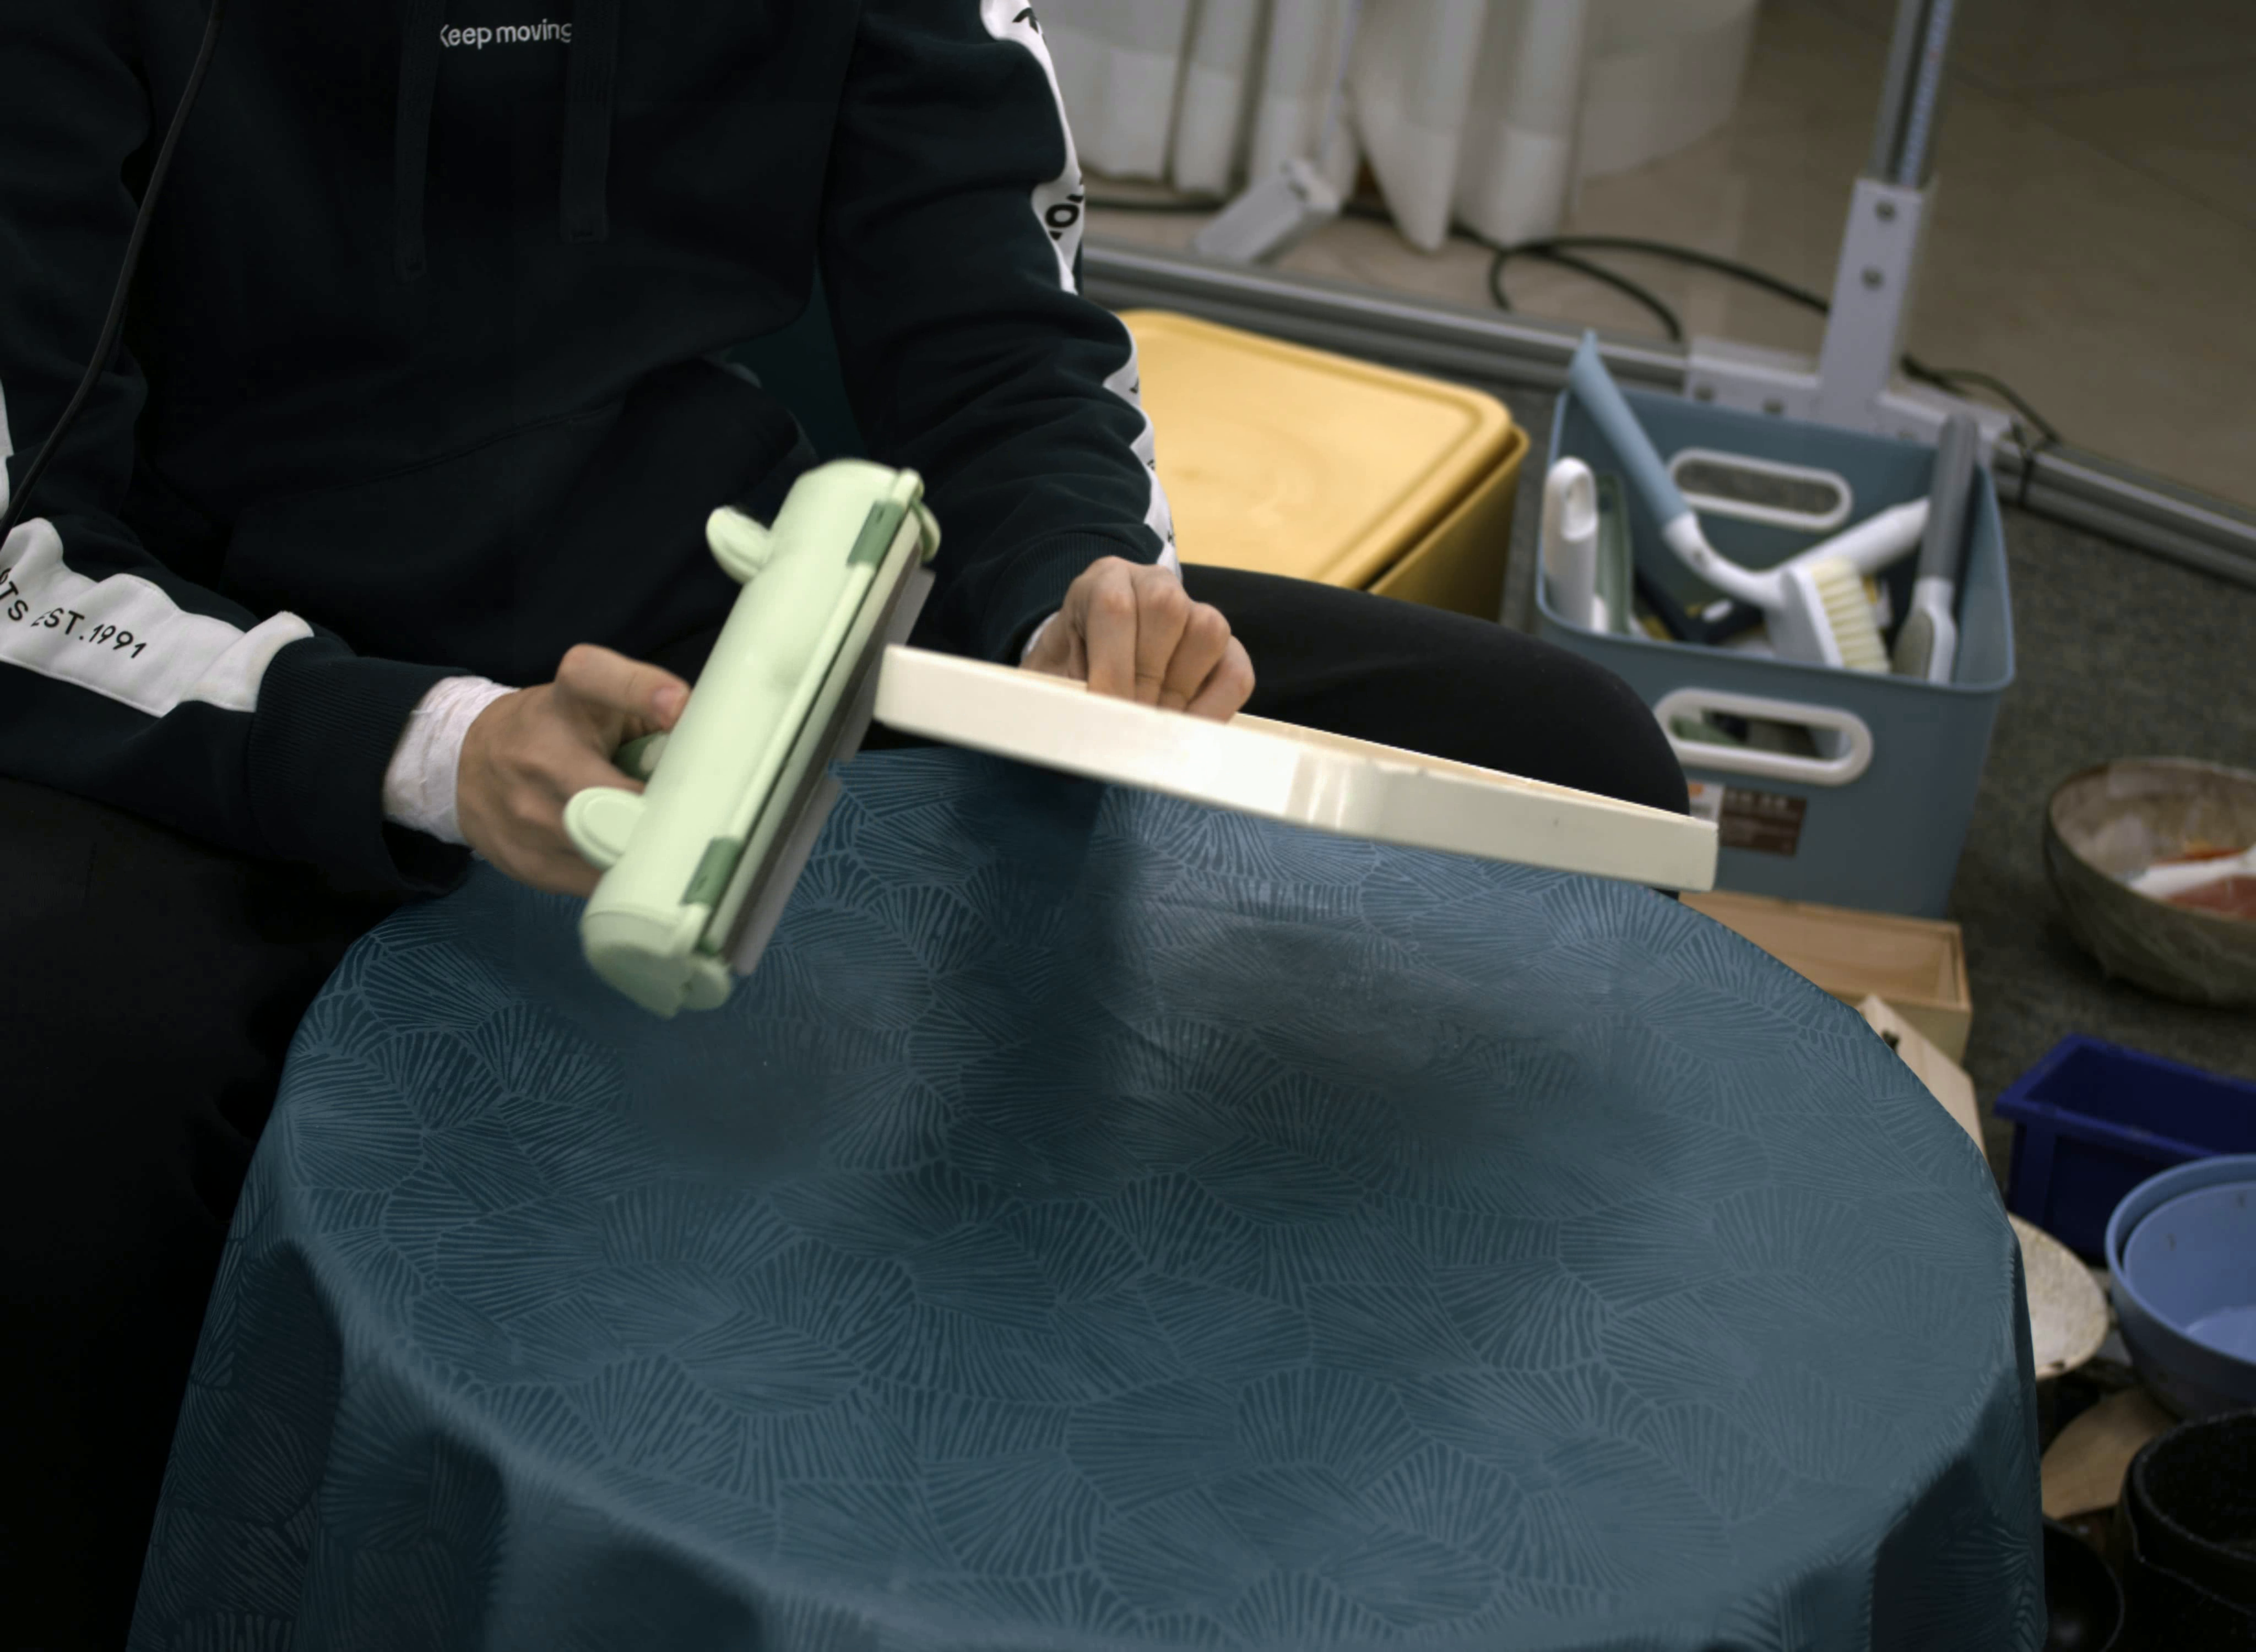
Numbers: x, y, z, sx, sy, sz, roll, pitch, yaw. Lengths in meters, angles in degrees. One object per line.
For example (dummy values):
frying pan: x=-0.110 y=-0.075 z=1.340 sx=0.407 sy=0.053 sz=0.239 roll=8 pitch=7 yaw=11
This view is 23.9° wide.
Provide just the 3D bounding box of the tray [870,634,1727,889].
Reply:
tray: x=0.063 y=-0.019 z=1.816 sx=0.192 sy=0.027 sz=0.298 roll=13 pitch=1 yaw=31

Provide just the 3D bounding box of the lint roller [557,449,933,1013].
lint roller: x=-0.160 y=-0.030 z=1.800 sx=0.184 sy=0.081 sz=0.199 roll=-11 pitch=49 yaw=50
